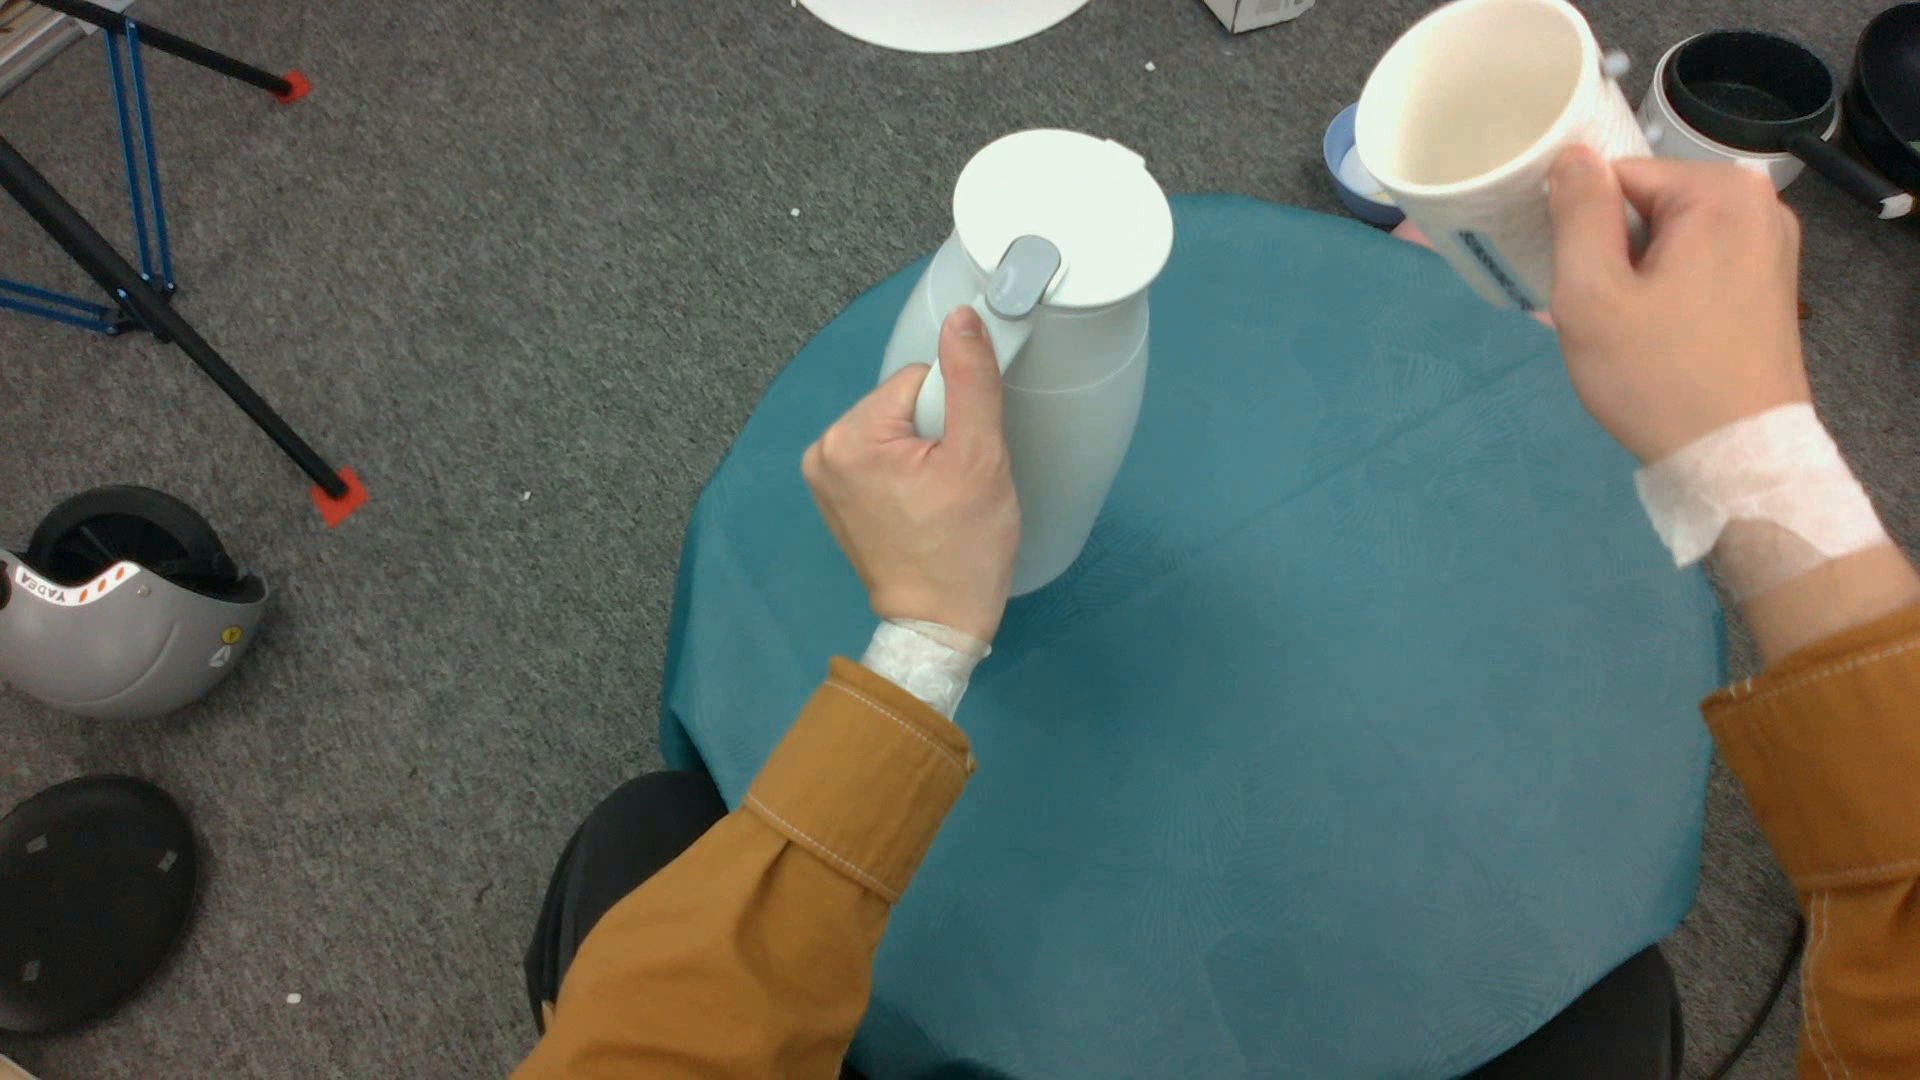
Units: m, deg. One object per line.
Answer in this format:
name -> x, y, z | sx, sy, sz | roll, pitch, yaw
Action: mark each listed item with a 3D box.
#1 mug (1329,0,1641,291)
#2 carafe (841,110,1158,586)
mug -> 0.211, -0.144, 0.522 | 0.084, 0.102, 0.118 | -46, 47, 17
carafe -> 0.010, -0.074, 0.653 | 0.132, 0.247, 0.168 | 30, 62, 5
